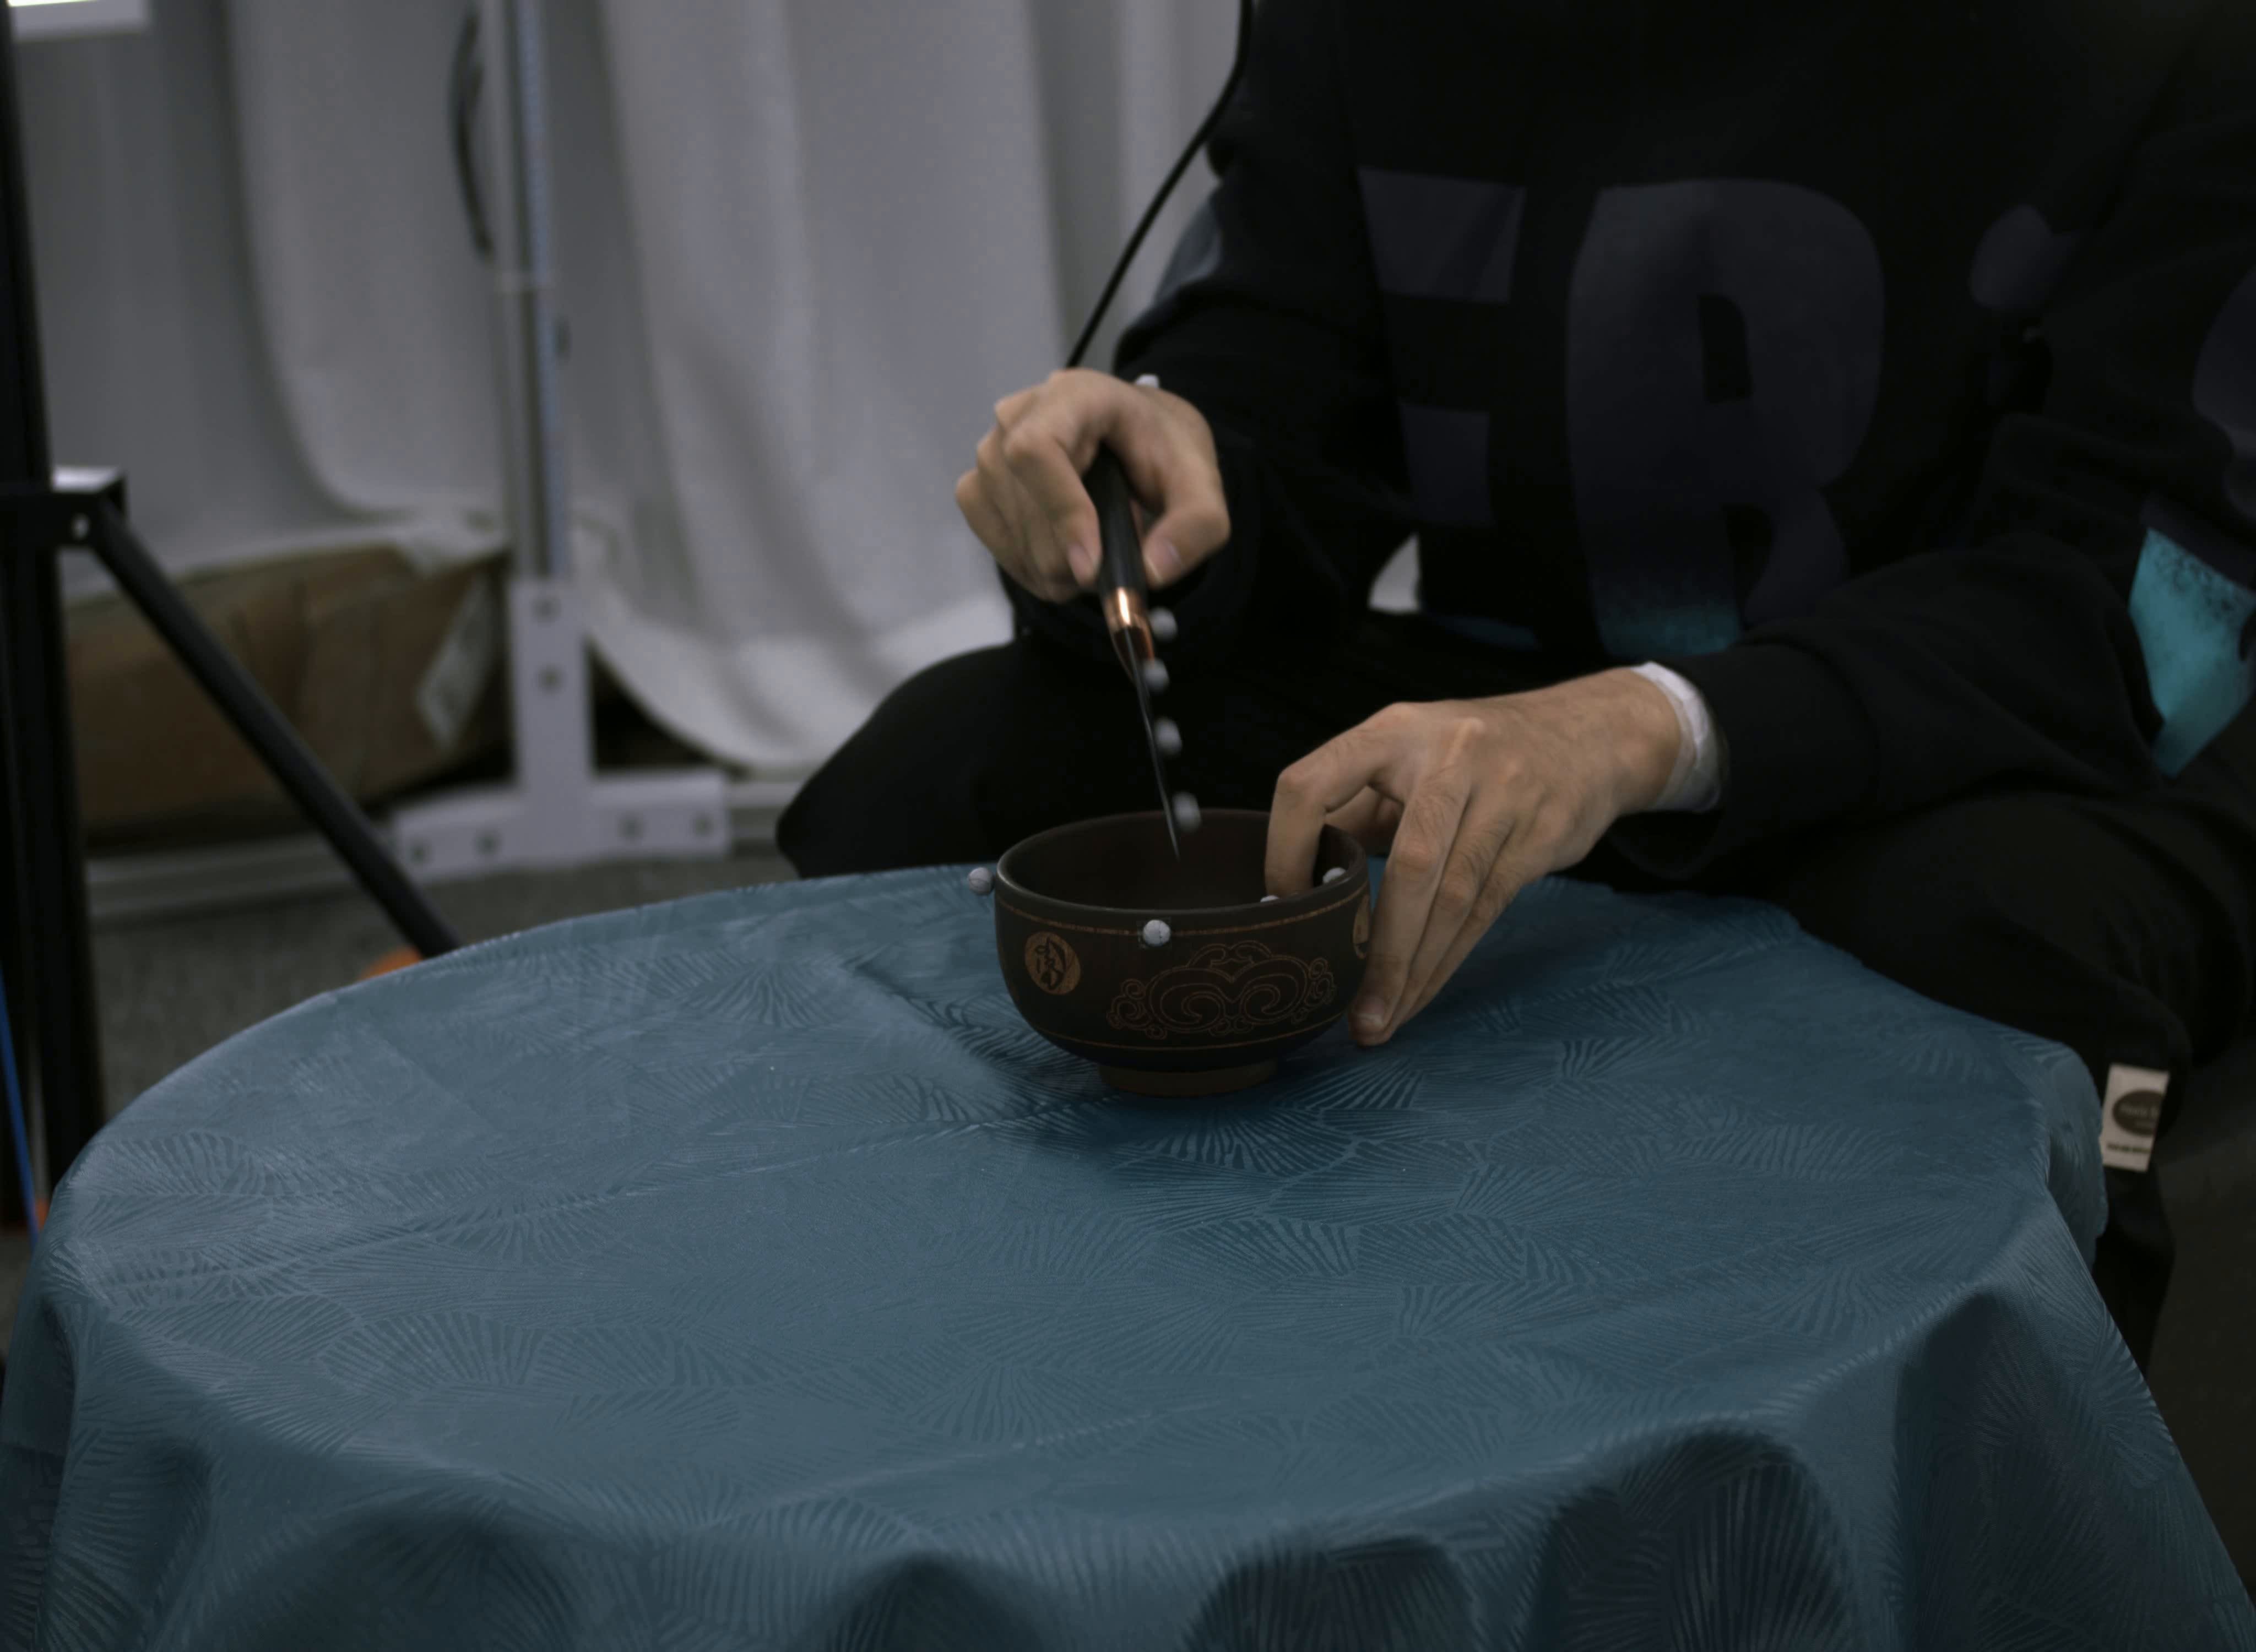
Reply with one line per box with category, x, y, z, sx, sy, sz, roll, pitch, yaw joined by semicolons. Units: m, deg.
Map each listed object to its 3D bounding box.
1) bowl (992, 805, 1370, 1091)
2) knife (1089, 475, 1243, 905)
bowl;0.017;0.041;1.653;0.117;0.070;0.118;-1;15;-1
knife;0.011;-0.046;1.694;0.026;0.017;0.229;15;32;-20
